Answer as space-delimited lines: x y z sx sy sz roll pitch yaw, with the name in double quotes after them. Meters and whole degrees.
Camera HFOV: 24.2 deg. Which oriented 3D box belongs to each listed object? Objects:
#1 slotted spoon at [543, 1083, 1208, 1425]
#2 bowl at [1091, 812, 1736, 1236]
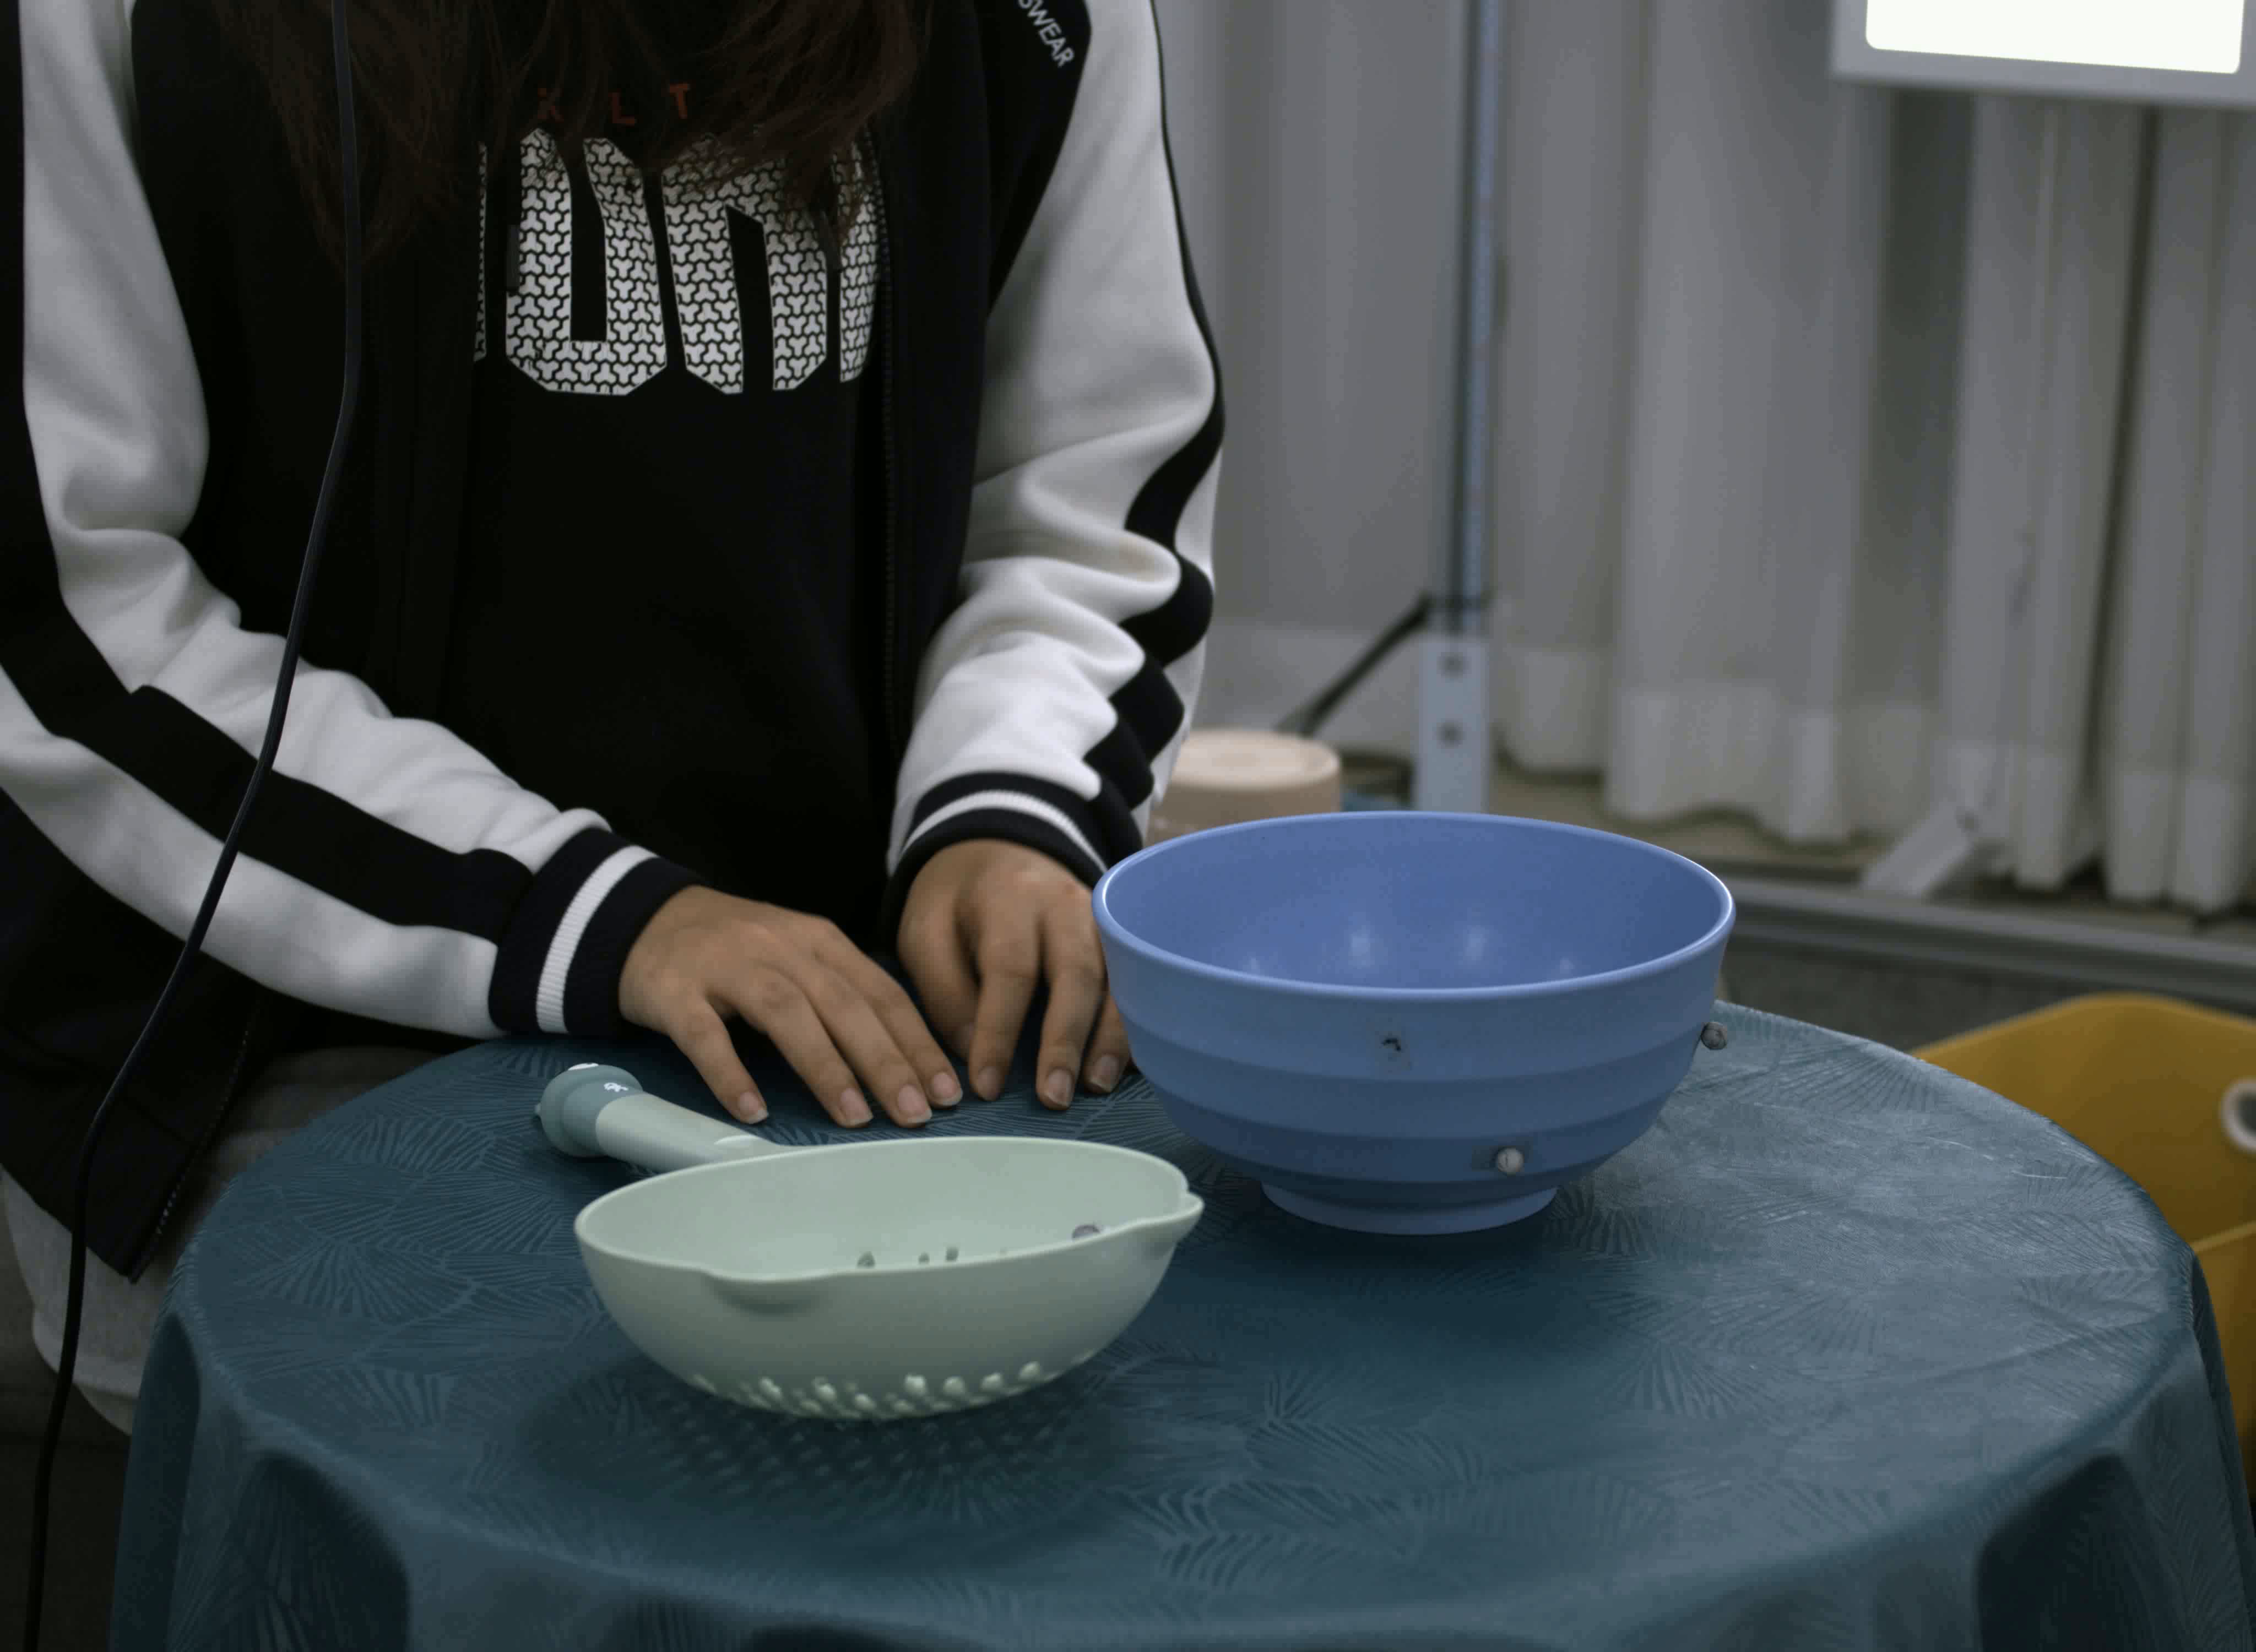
-0.107 0.107 1.526 0.170 0.076 0.354 -6 15 -25 "slotted spoon"
0.087 0.066 1.614 0.196 0.096 0.195 0 16 1 "bowl"
